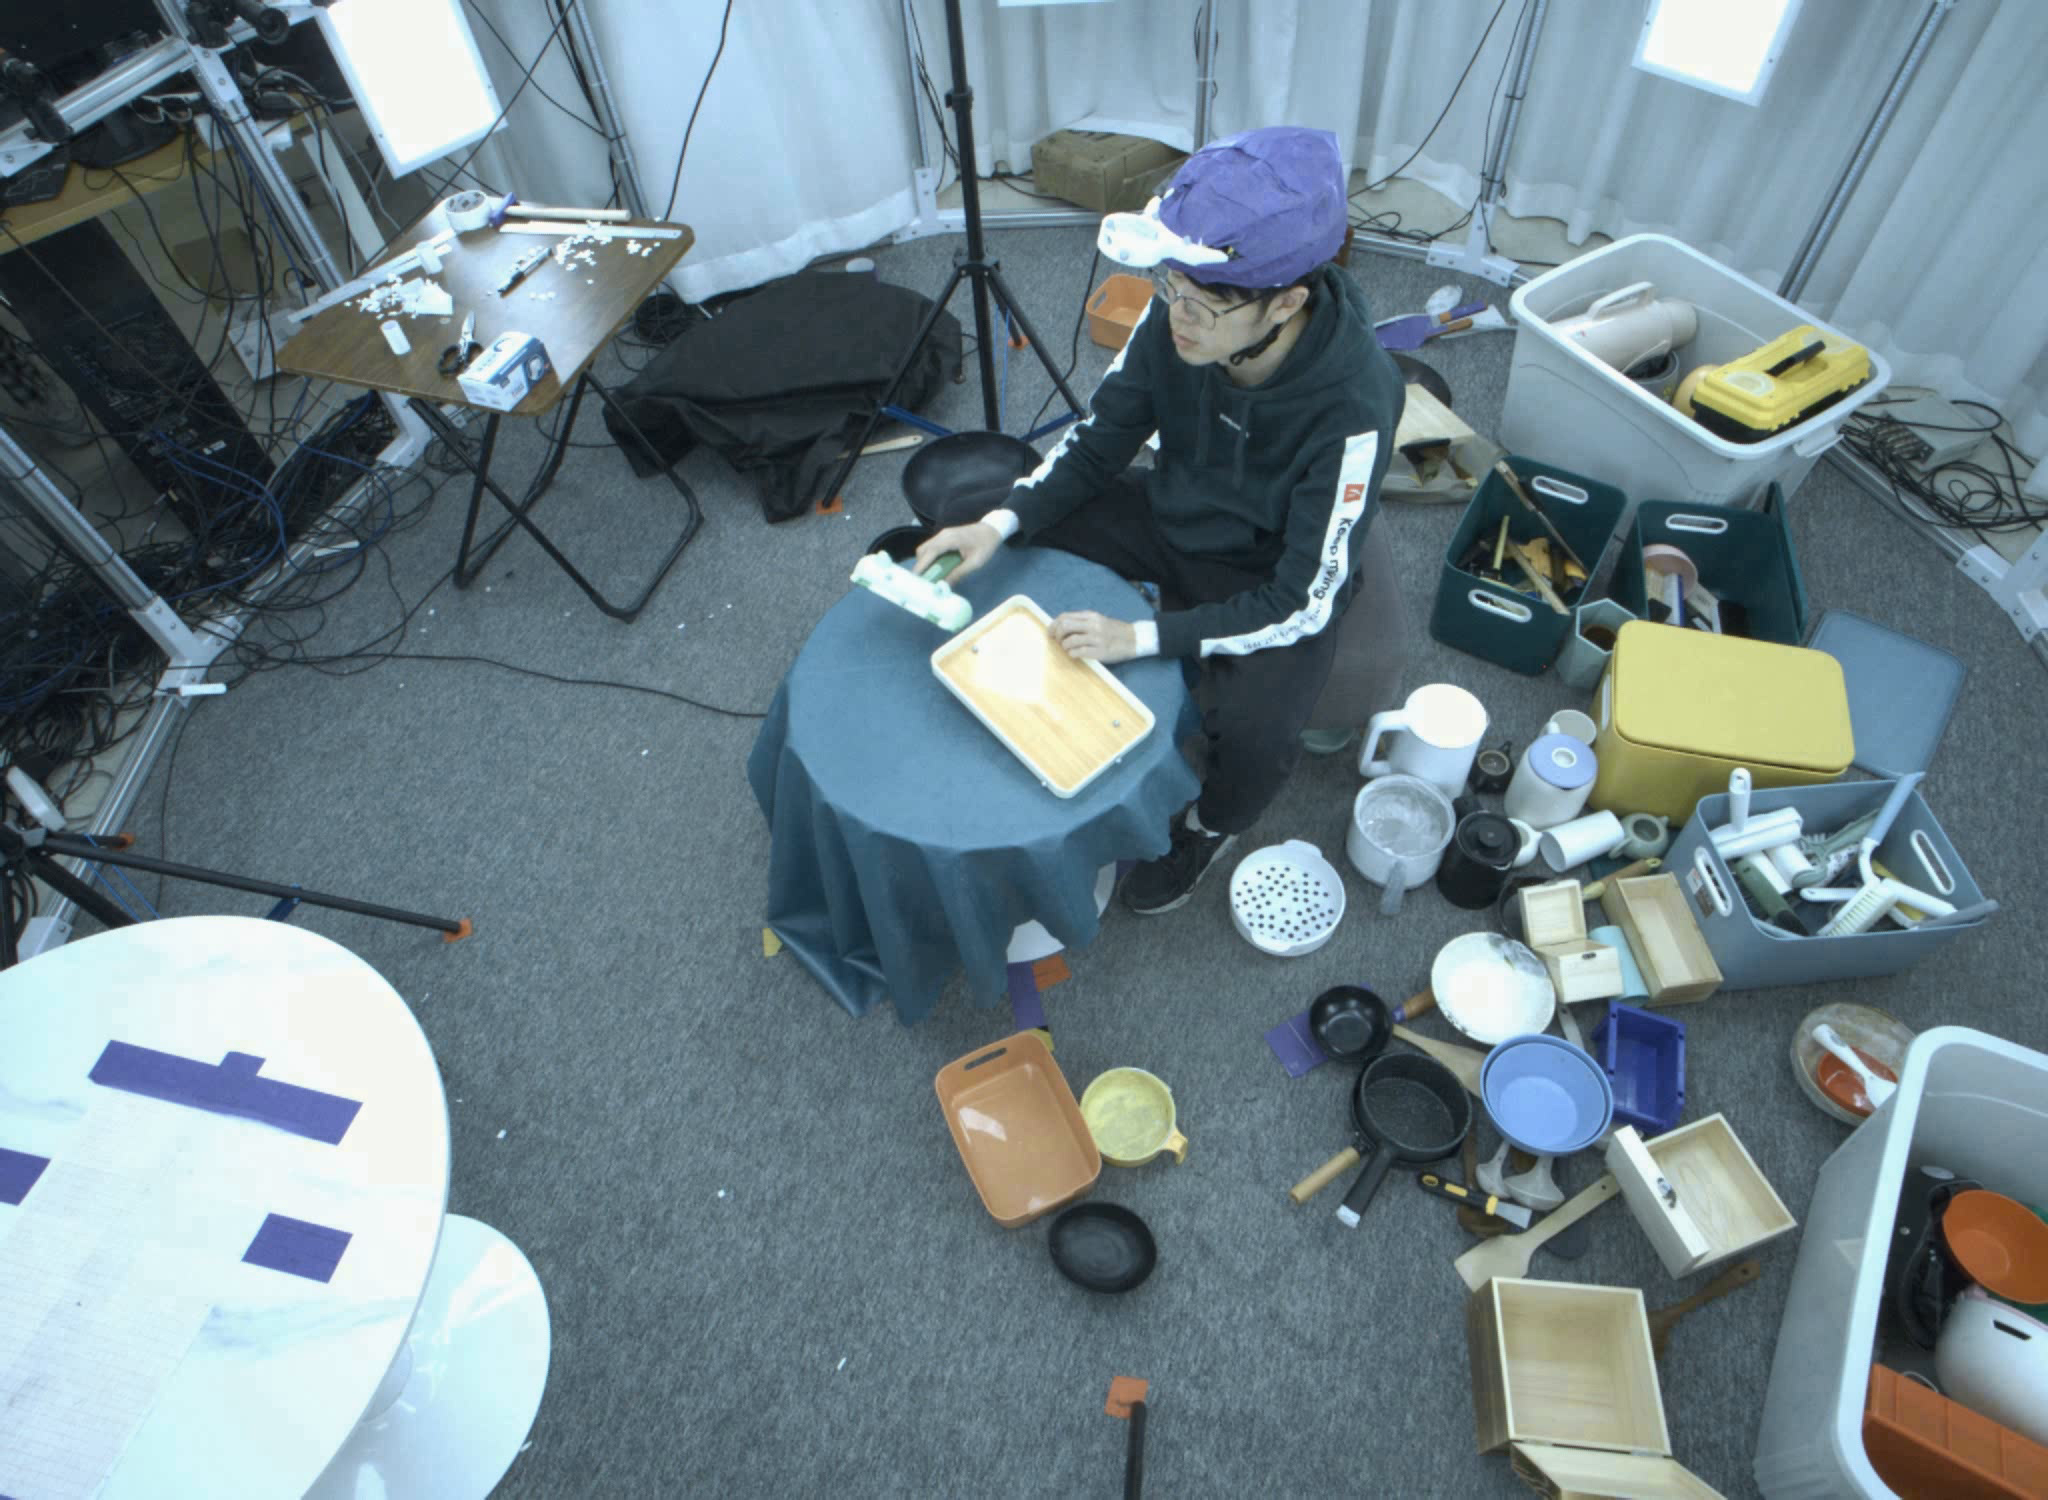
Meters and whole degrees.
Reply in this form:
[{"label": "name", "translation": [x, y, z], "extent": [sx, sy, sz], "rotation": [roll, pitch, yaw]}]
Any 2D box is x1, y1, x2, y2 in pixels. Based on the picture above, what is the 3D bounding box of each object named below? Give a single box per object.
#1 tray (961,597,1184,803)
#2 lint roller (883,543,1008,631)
[{"label": "tray", "translation": [0.069, -0.077, 1.786], "extent": [0.193, 0.027, 0.296], "rotation": [-36, 72, -22]}, {"label": "lint roller", "translation": [-0.088, -0.280, 1.869], "extent": [0.195, 0.083, 0.184], "rotation": [30, 61, 23]}]
